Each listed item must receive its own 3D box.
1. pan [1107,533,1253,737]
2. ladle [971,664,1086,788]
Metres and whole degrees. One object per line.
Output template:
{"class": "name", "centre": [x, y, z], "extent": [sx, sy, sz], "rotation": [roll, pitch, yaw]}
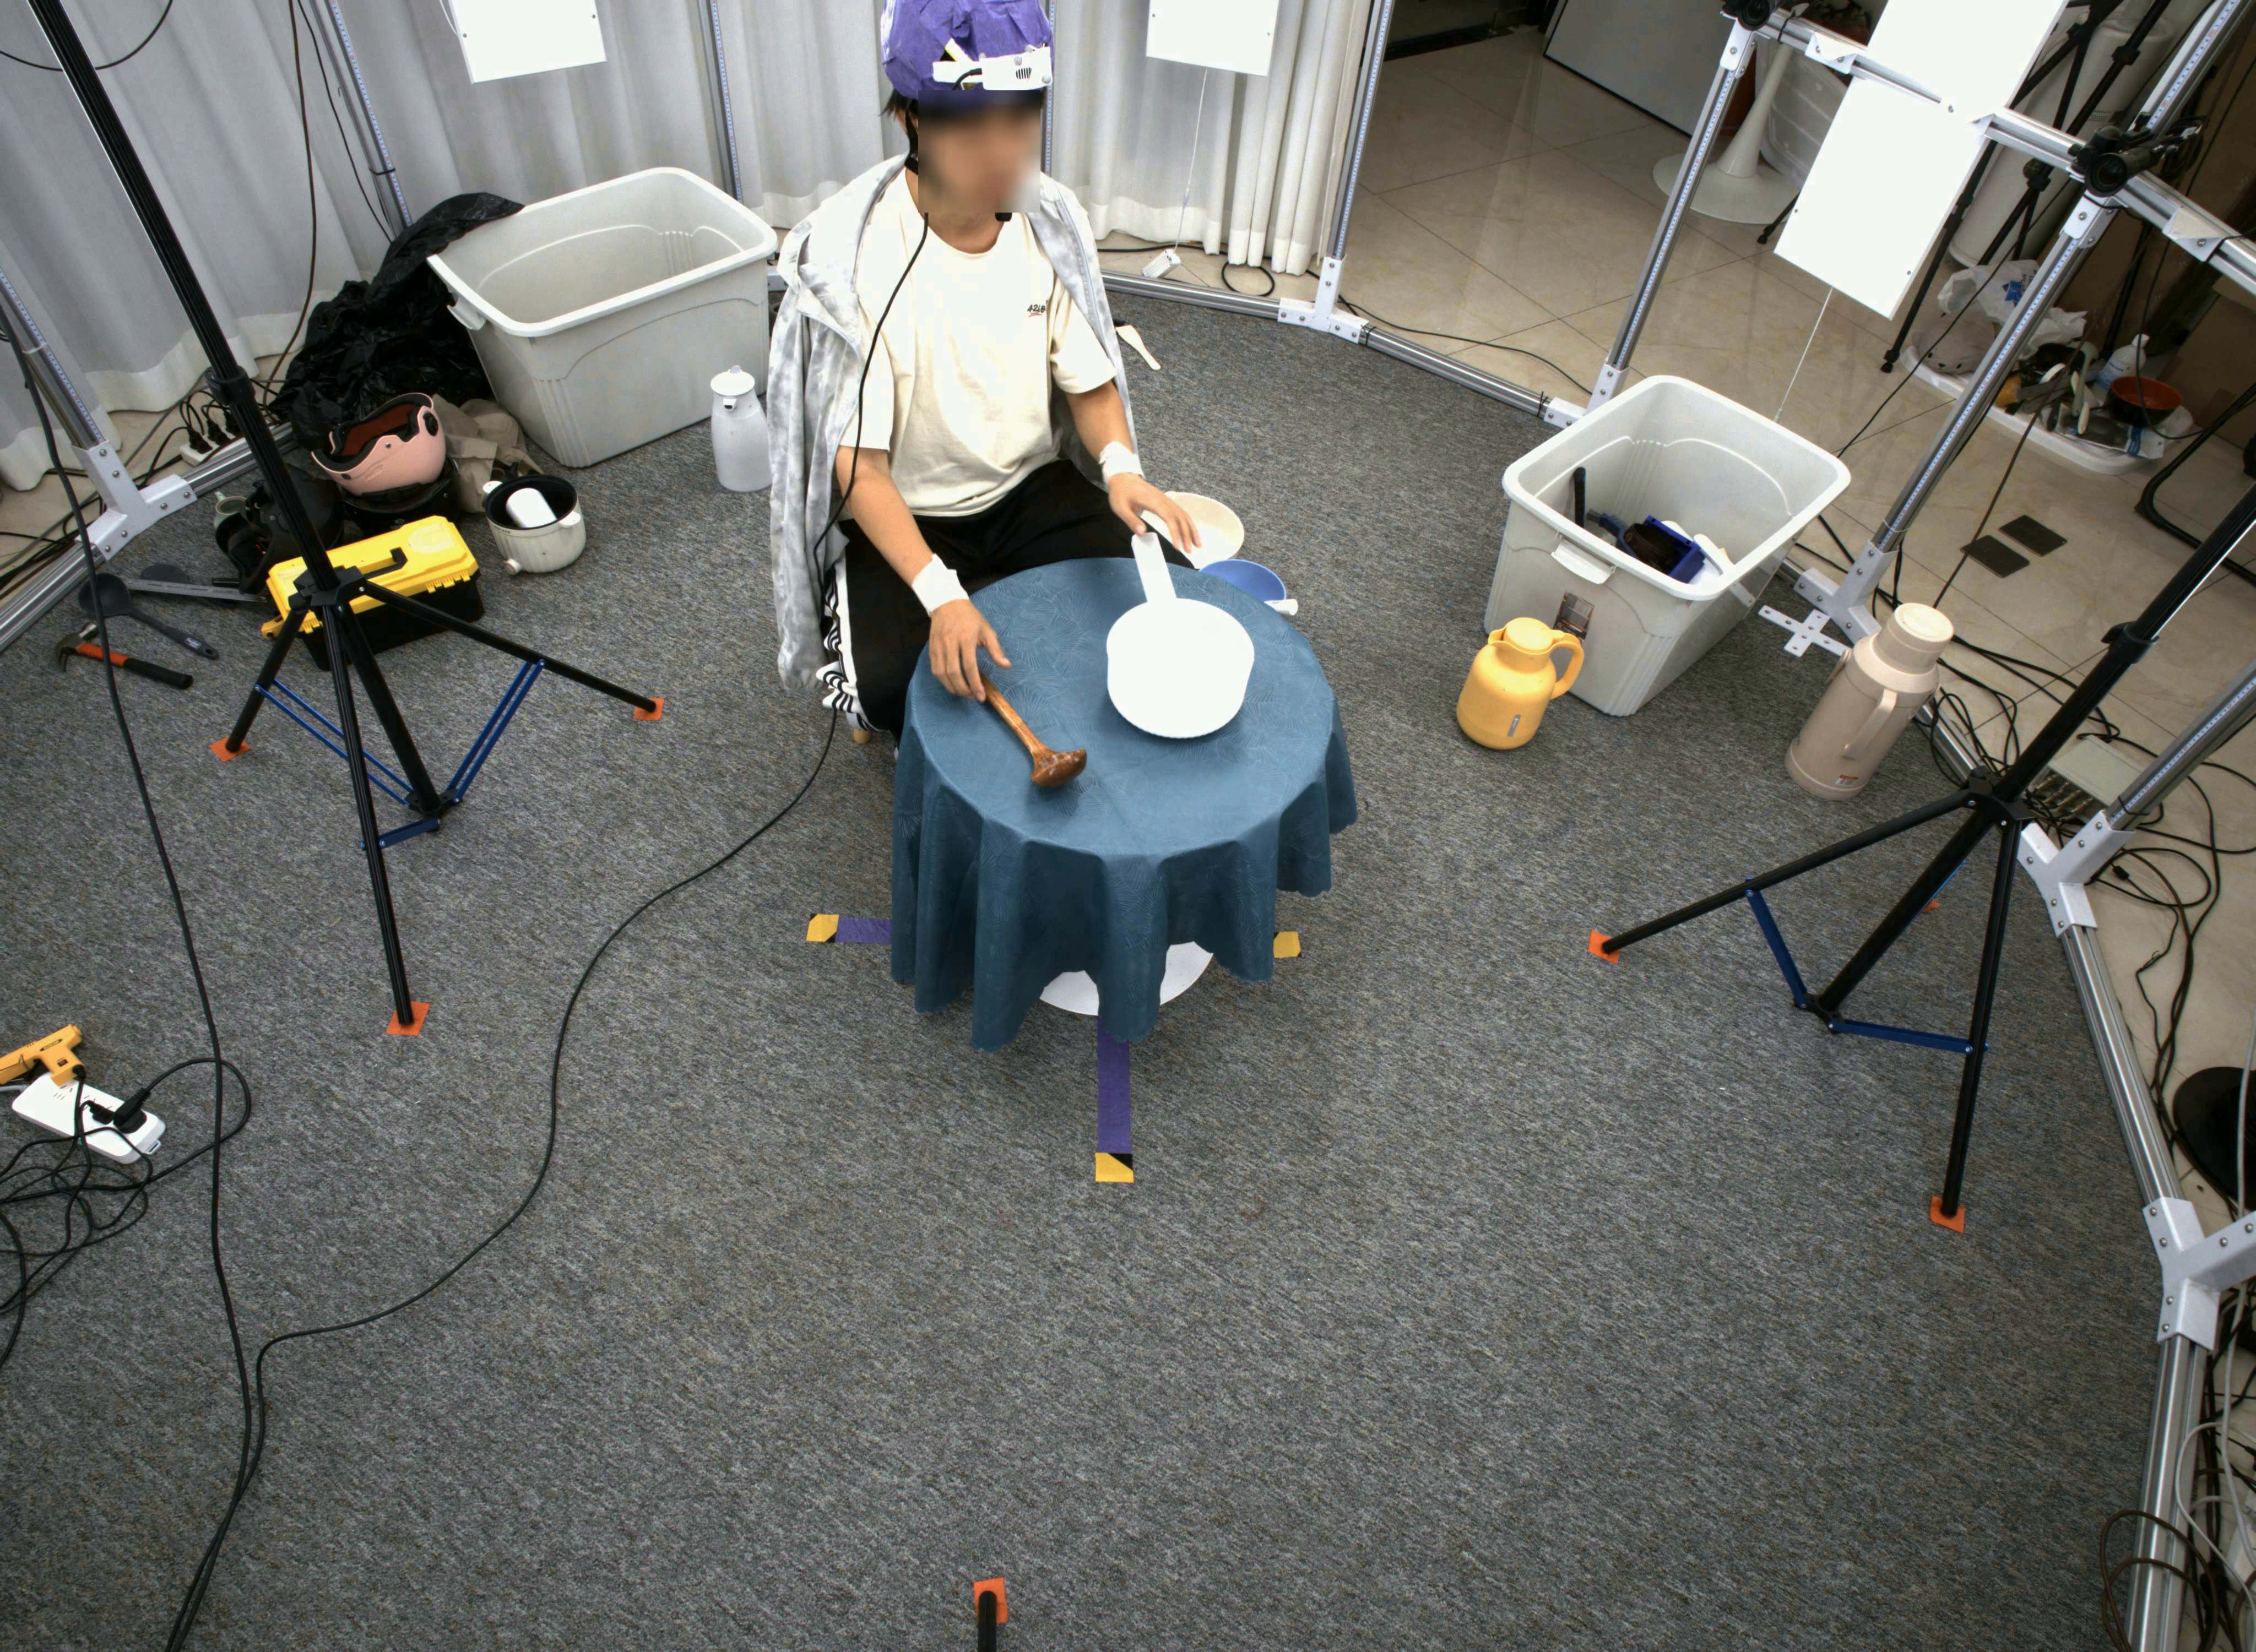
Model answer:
{"class": "pan", "centre": [0.056, -0.273, 1.840], "extent": [0.201, 0.099, 0.364], "rotation": [-6, 49, -8]}
{"class": "ladle", "centre": [-0.147, -0.149, 1.729], "extent": [0.082, 0.075, 0.280], "rotation": [-23, 55, -20]}
